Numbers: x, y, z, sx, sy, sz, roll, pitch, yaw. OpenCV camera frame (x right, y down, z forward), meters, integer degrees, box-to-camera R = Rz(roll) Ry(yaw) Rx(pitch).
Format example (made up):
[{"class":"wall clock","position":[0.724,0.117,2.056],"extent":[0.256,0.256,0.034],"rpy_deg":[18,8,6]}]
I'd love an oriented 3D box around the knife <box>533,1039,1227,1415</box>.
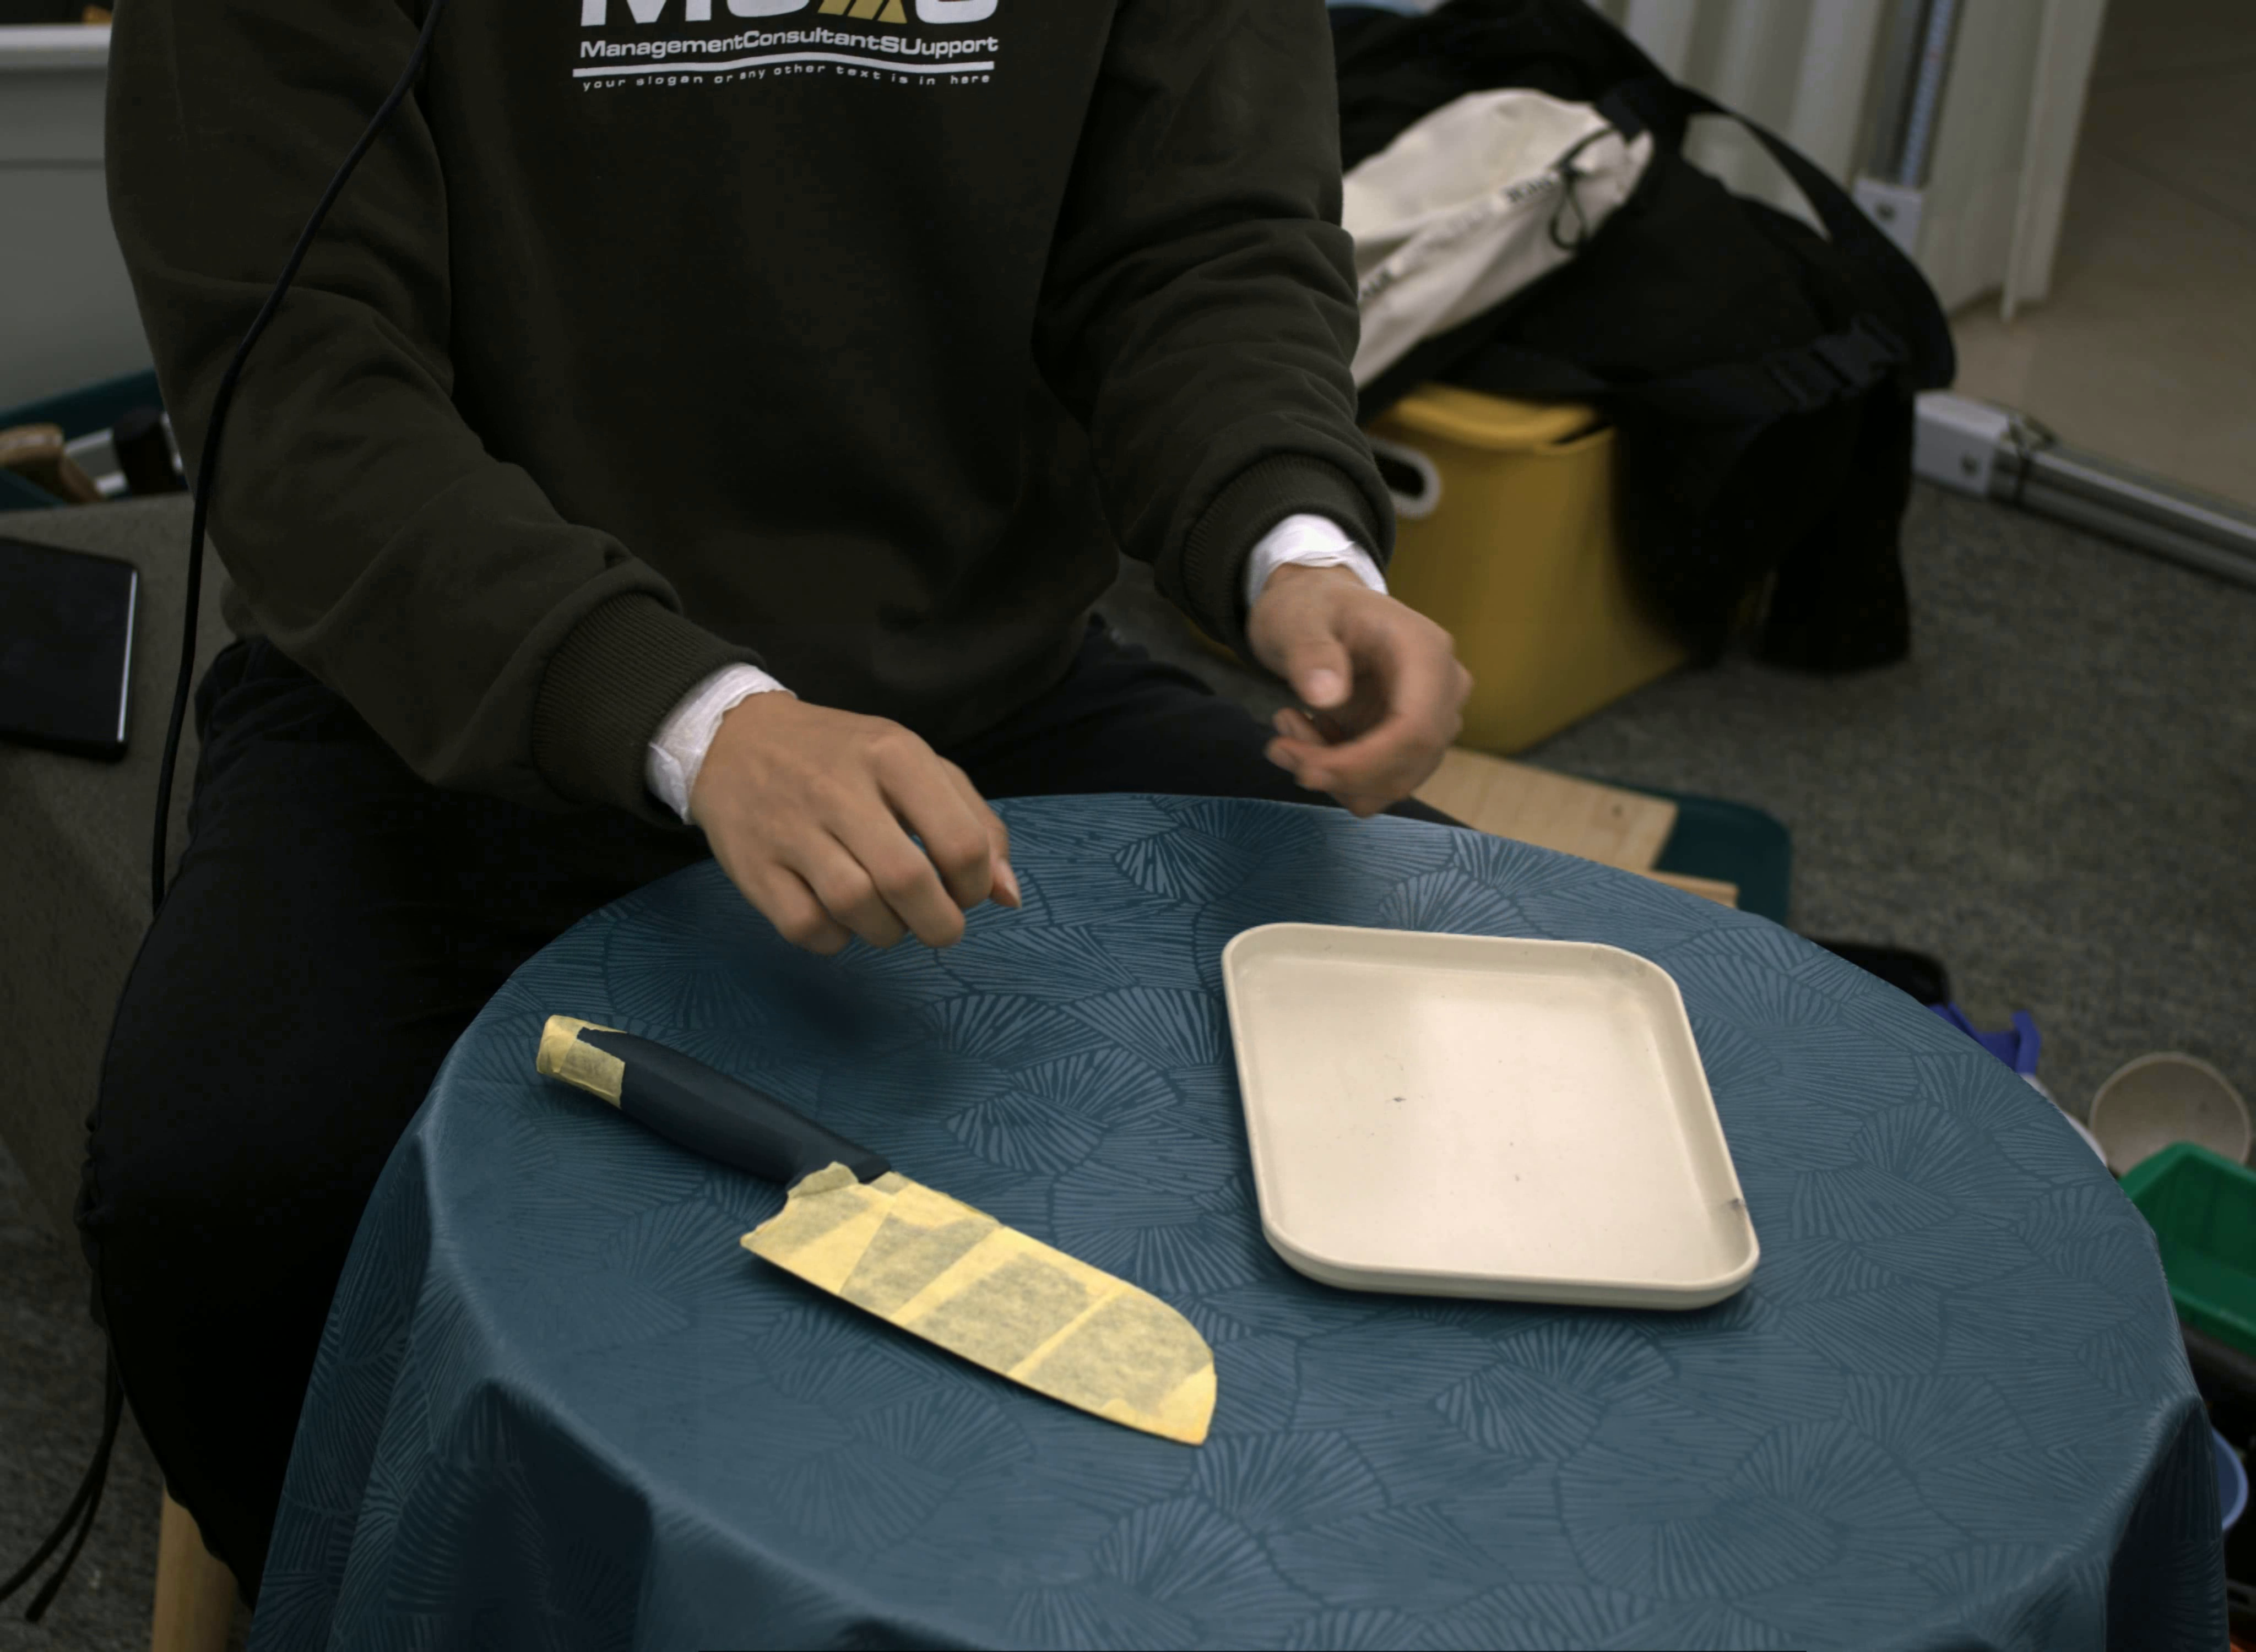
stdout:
[{"class":"knife","position":[-0.089,0.133,1.750],"extent":[0.291,0.027,0.081],"rpy_deg":[23,29,28]}]

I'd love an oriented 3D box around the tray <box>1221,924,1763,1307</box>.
[{"class":"tray","position":[0.123,0.100,1.859],"extent":[0.170,0.017,0.241],"rpy_deg":[3,27,-5]}]
